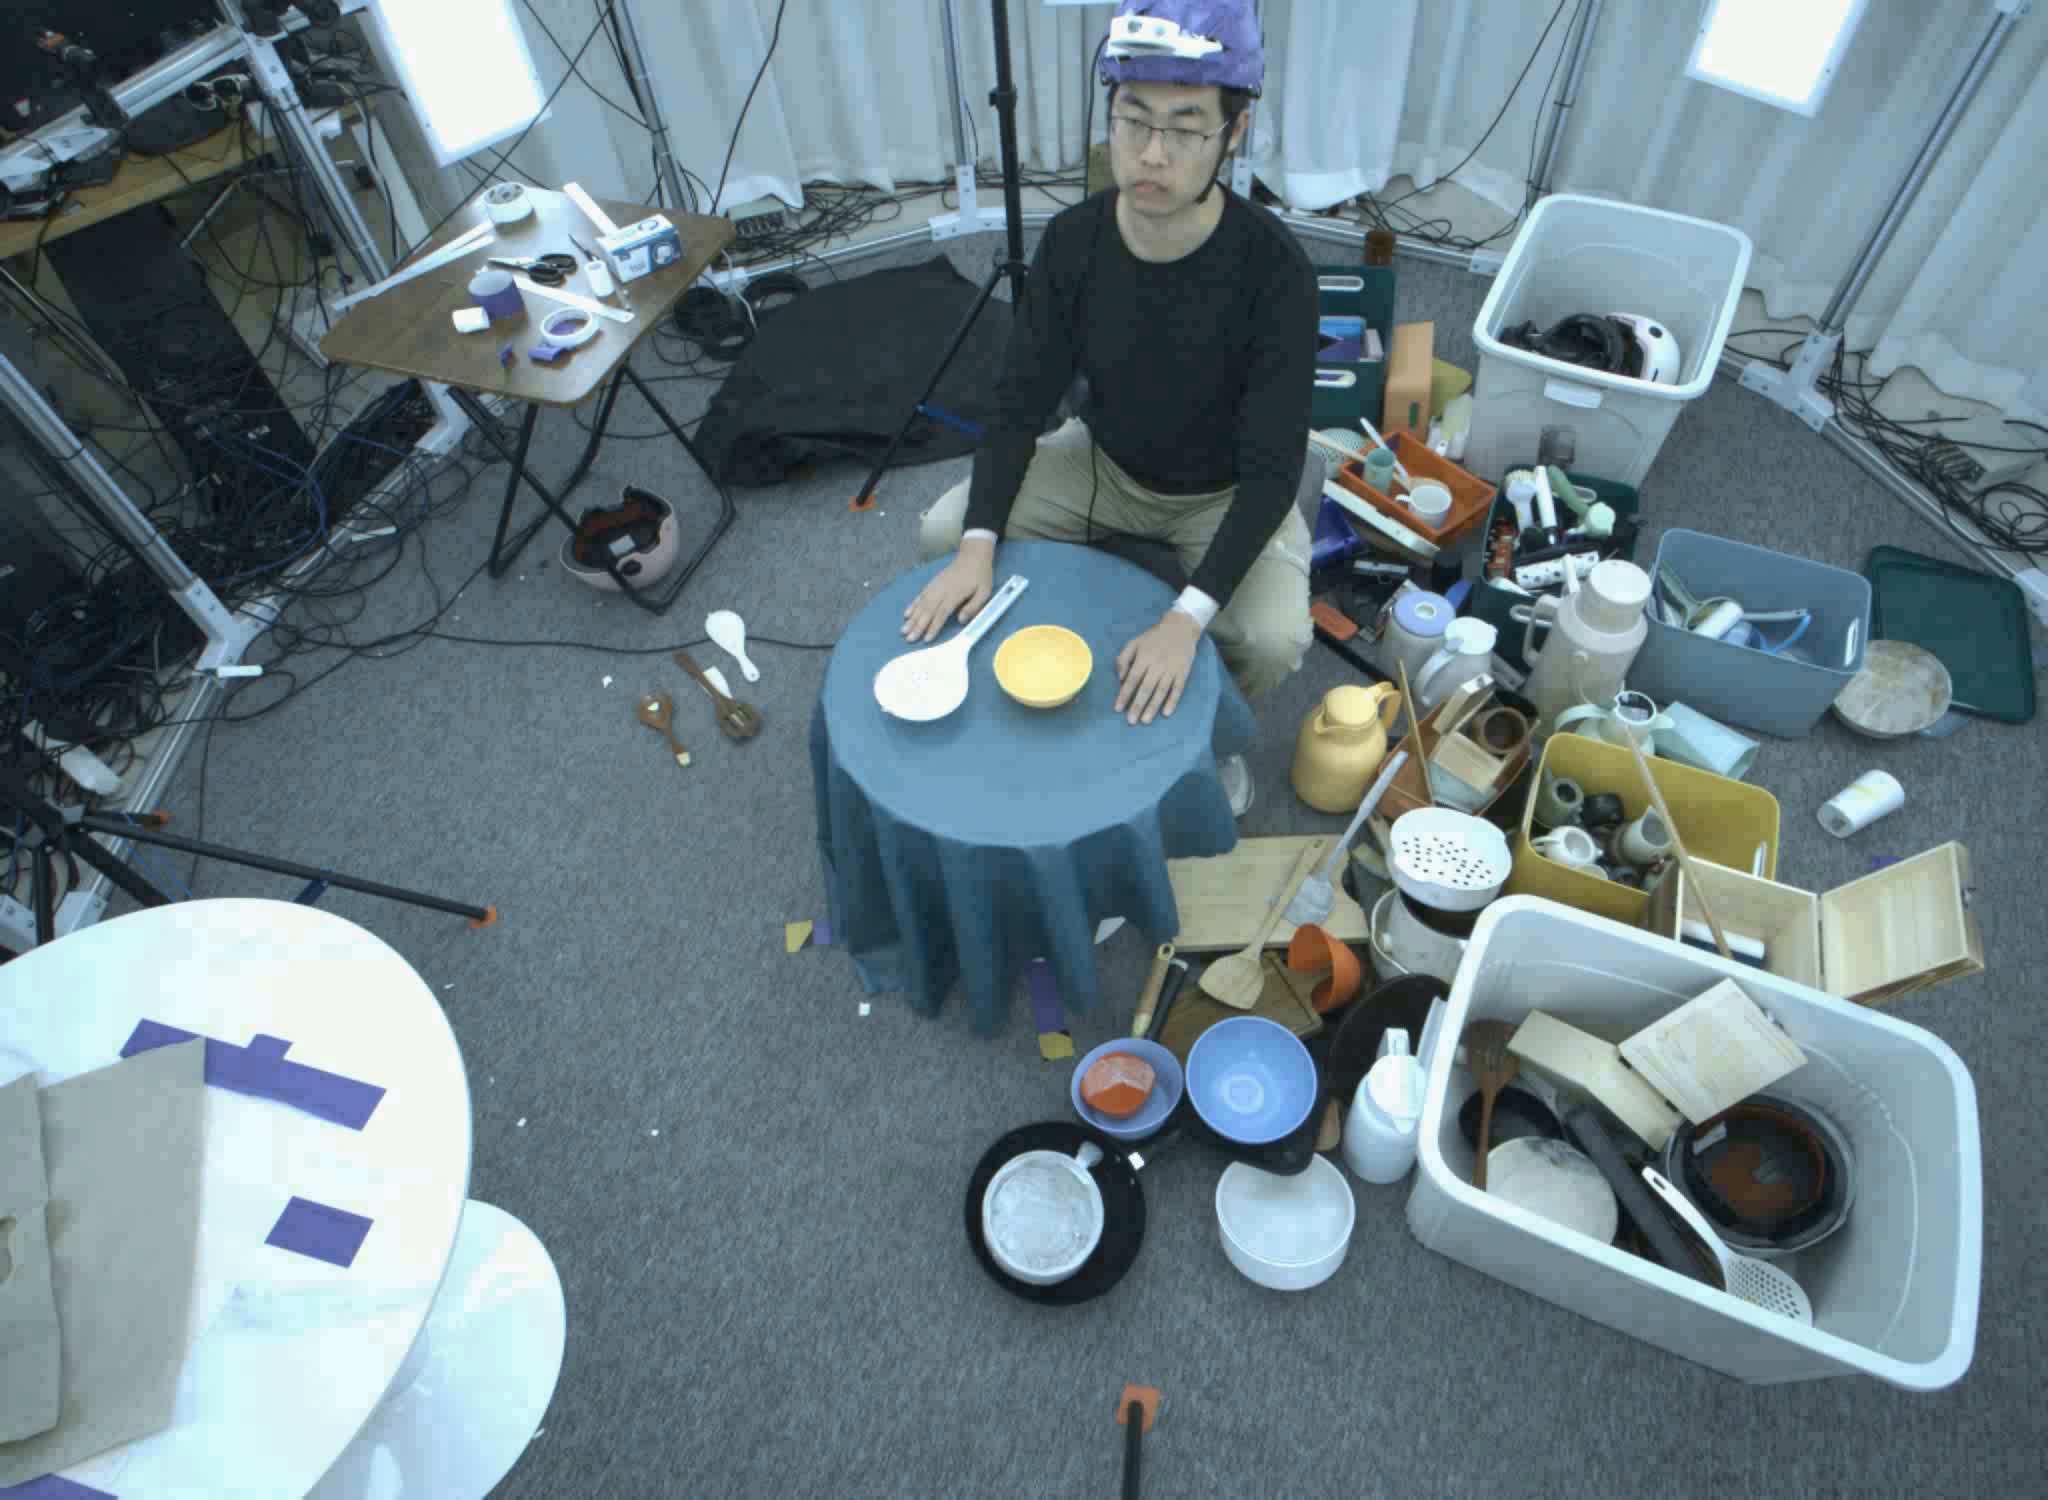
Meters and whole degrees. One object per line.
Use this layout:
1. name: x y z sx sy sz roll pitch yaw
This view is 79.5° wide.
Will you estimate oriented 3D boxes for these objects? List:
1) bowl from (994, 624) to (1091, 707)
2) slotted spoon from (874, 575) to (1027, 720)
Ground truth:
1. bowl: 0.028 -0.114 1.833 0.145 0.061 0.144 0 56 1
2. slotted spoon: -0.097 -0.162 1.877 0.134 0.046 0.351 26 59 18
